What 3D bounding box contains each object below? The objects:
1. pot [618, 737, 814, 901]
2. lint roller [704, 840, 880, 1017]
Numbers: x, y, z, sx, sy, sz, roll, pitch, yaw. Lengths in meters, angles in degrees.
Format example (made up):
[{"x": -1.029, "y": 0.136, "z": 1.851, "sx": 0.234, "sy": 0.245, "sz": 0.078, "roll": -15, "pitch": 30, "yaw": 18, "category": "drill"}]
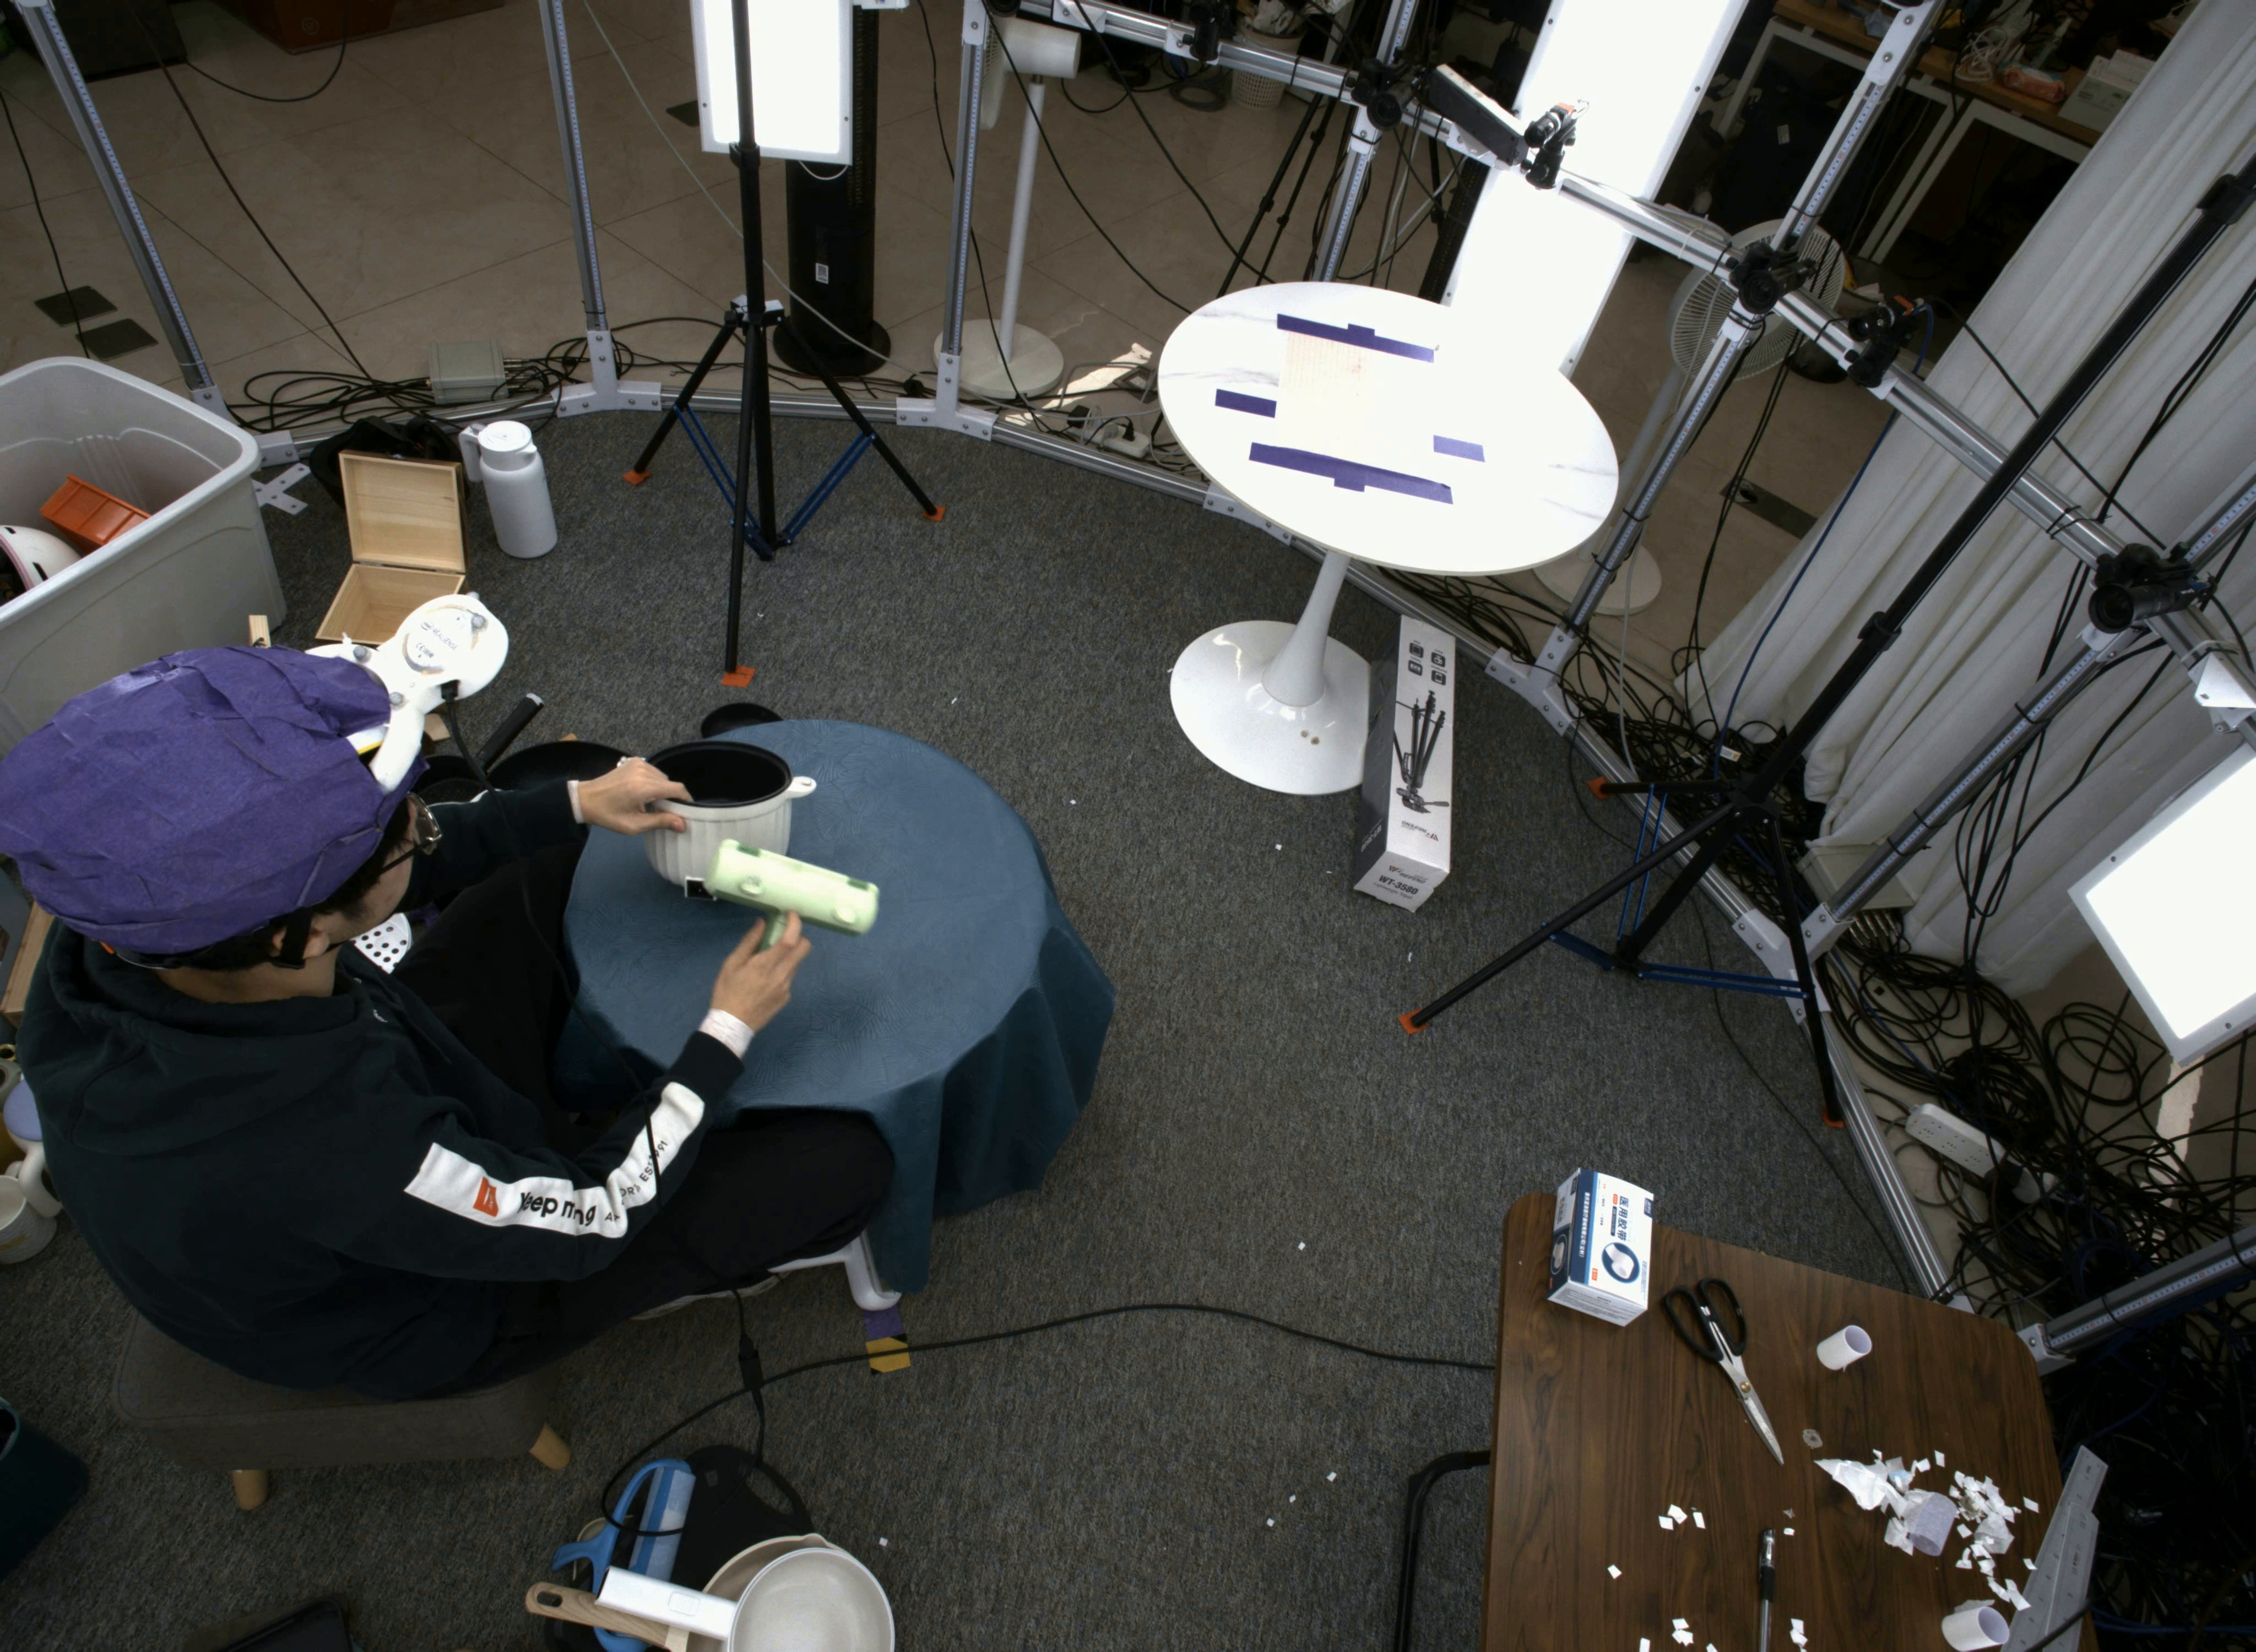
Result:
[{"x": -0.512, "y": -0.014, "z": 1.603, "sx": 0.240, "sy": 0.146, "sz": 0.186, "roll": 7, "pitch": 32, "yaw": -8, "category": "pot"}, {"x": -0.396, "y": 0.130, "z": 1.478, "sx": 0.203, "sy": 0.080, "sz": 0.184, "roll": 21, "pitch": 82, "yaw": -33, "category": "lint roller"}]
